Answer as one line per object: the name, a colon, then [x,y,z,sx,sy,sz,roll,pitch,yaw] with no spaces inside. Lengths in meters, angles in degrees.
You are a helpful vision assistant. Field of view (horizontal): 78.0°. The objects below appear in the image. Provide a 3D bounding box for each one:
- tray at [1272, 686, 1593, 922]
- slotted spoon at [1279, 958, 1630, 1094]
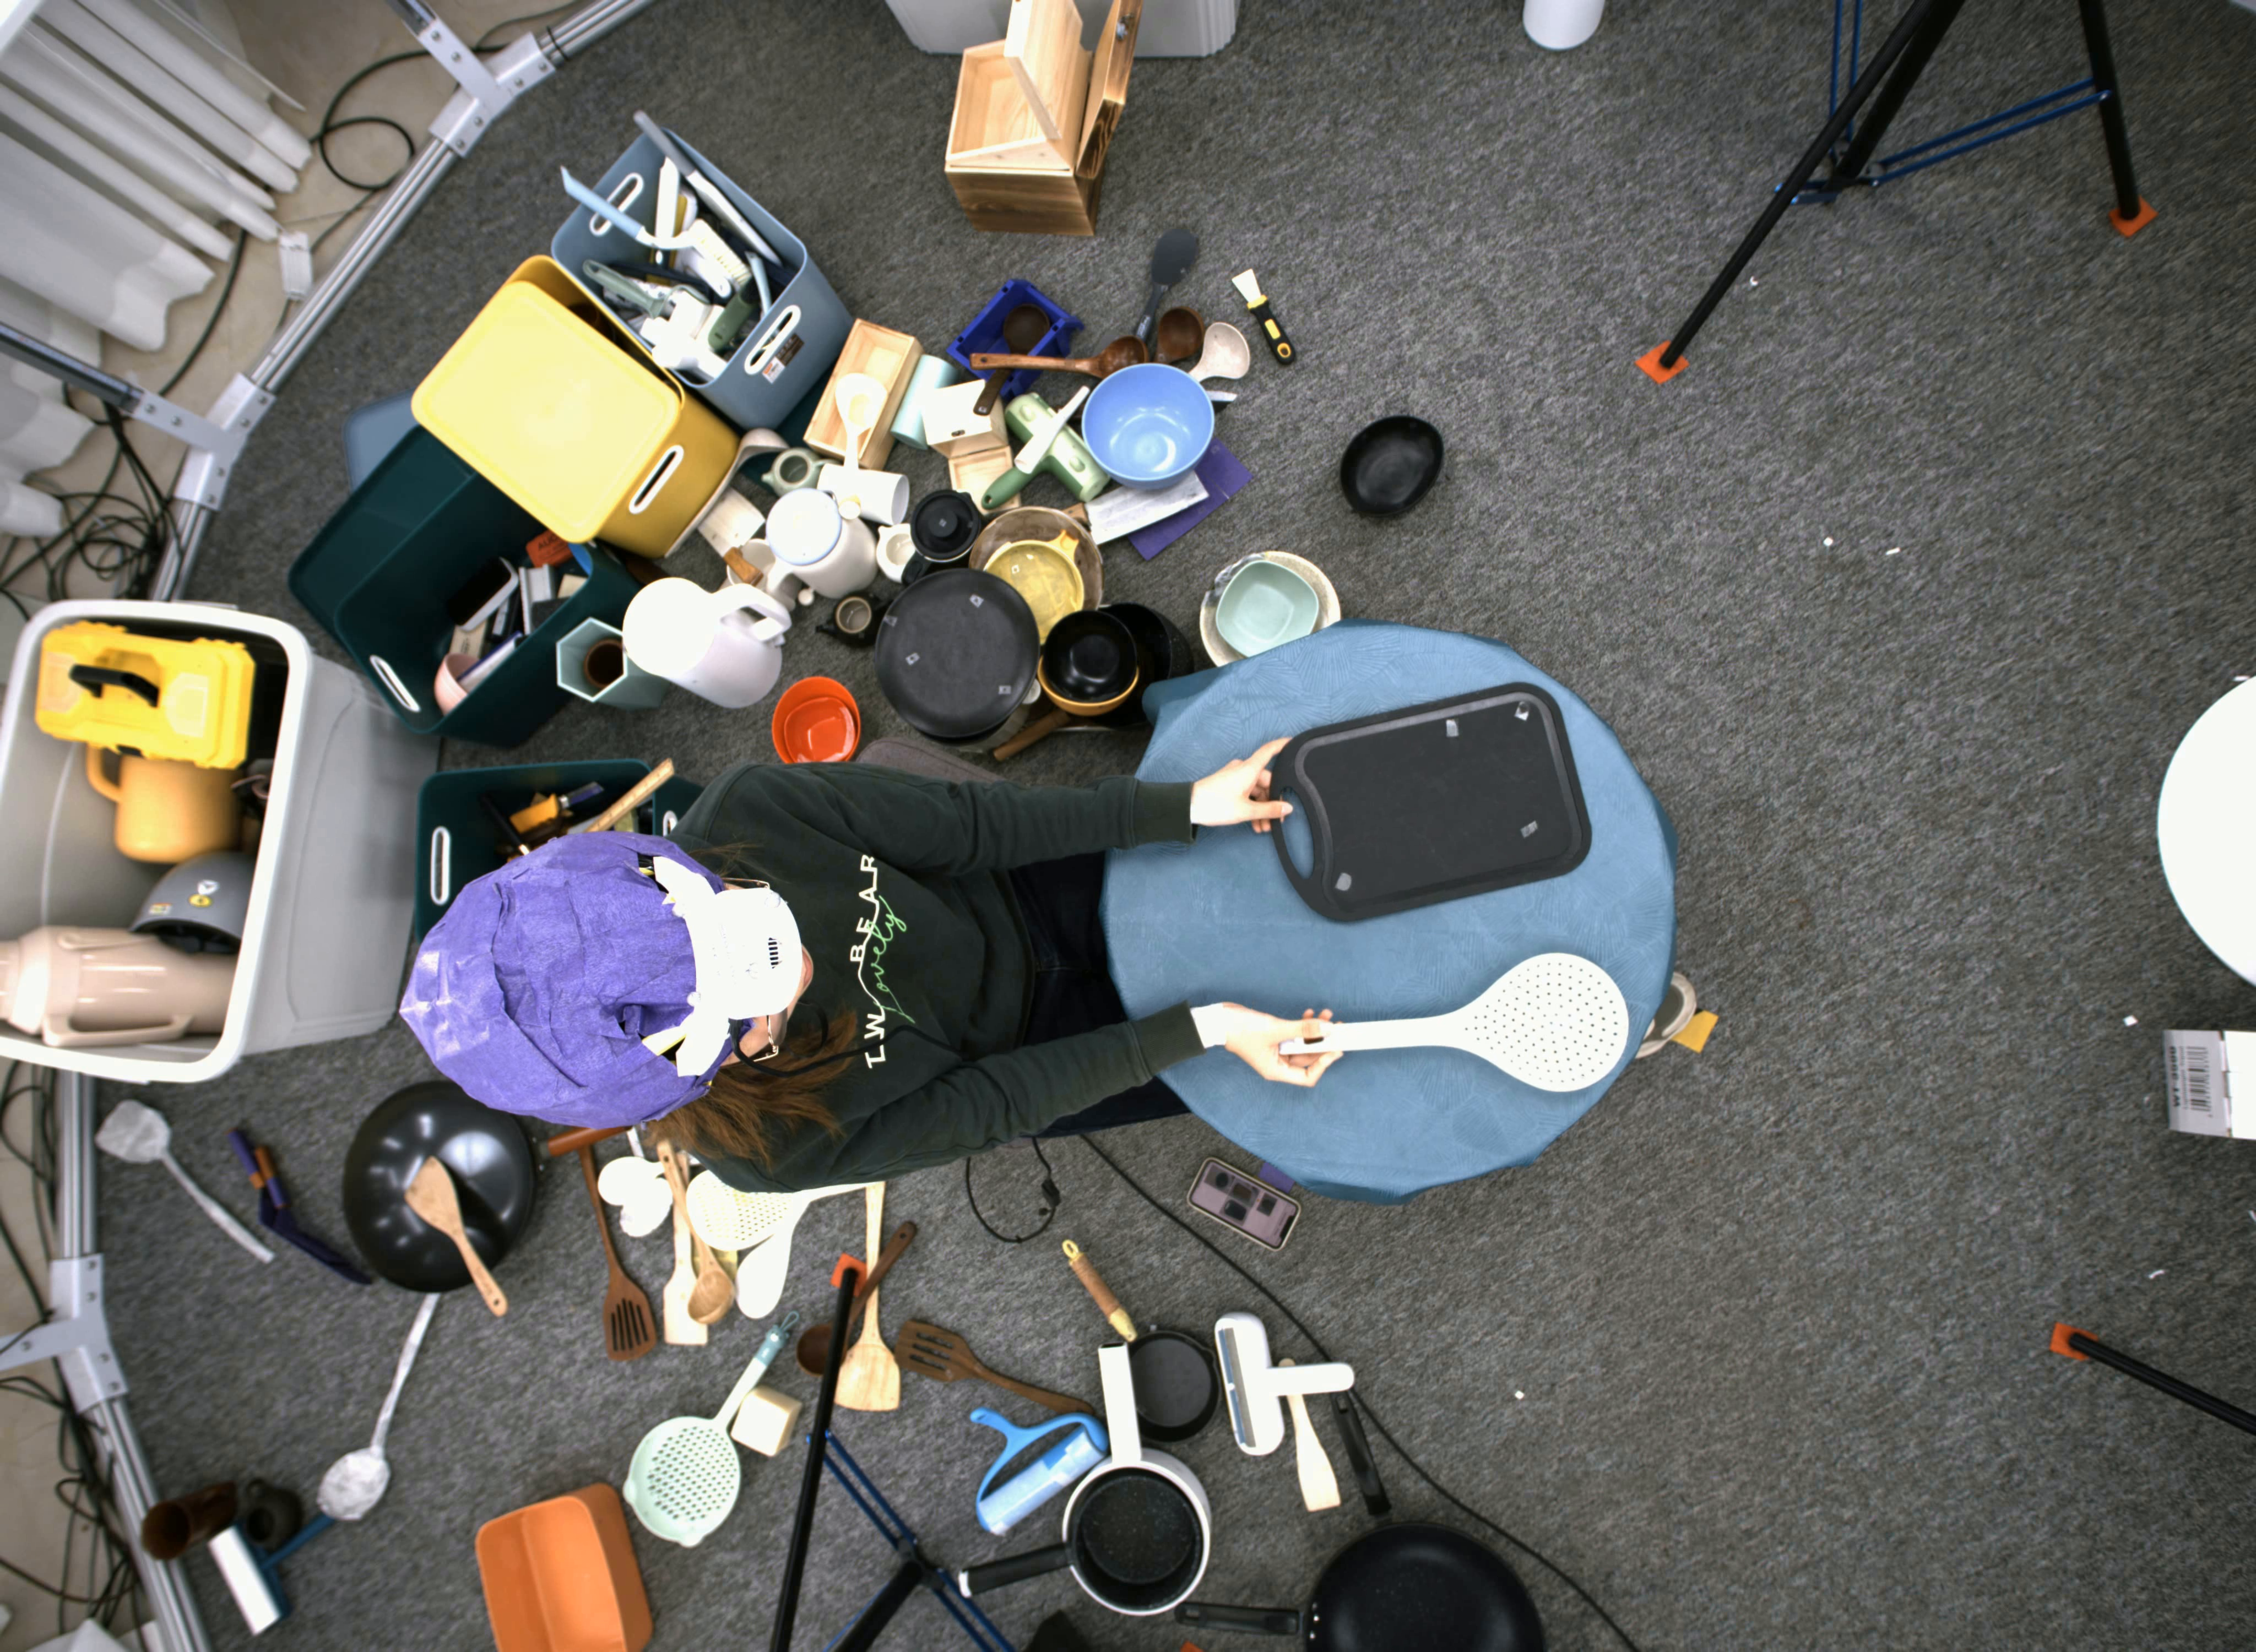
tray: [0.315,-0.022,1.452,0.327,0.010,0.210,-13,84,7]
slotted spoon: [0.329,0.208,1.404,0.350,0.046,0.135,-4,81,2]
